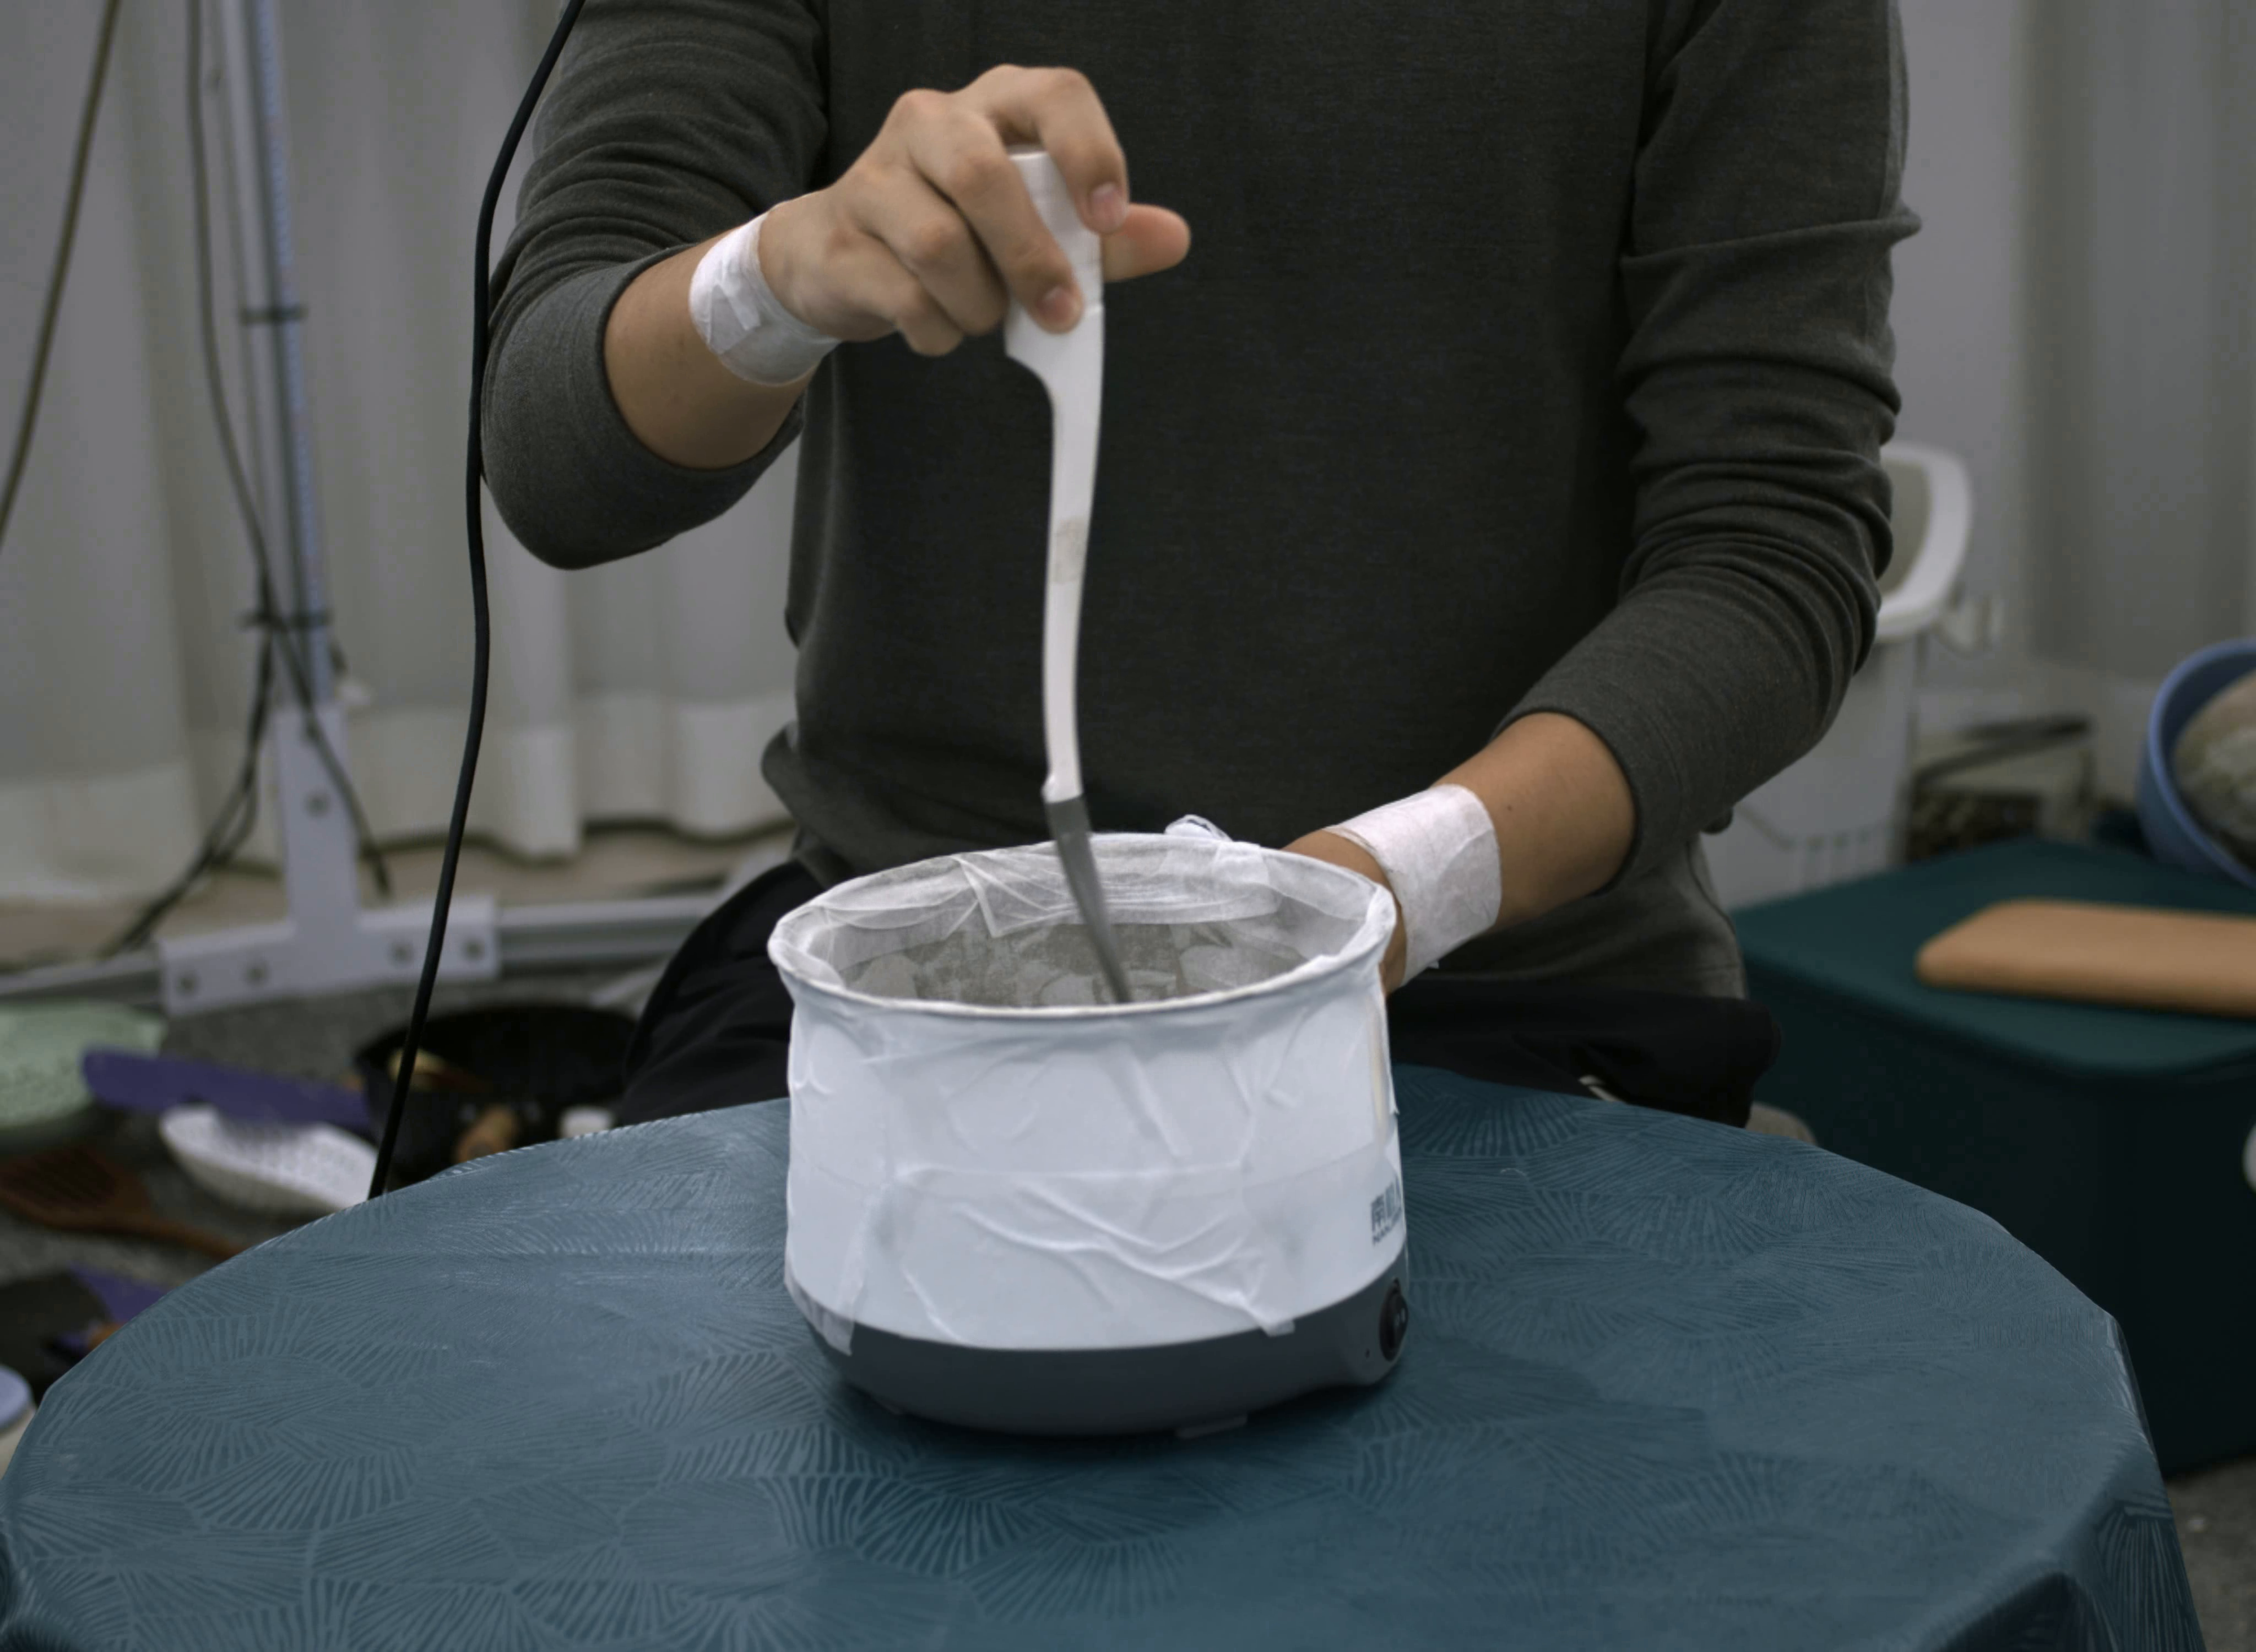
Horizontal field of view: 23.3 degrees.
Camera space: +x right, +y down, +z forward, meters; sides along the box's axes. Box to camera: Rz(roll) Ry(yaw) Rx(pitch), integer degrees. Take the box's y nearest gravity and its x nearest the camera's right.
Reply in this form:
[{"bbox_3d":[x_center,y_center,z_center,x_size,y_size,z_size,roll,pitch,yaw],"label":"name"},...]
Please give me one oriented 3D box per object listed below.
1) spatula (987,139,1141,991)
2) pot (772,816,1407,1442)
[{"bbox_3d":[-0.008,-0.046,1.525,0.032,0.287,0.059,-7,10,-4],"label":"spatula"},{"bbox_3d":[-0.001,0.081,1.581,0.179,0.136,0.234,2,15,18],"label":"pot"}]
